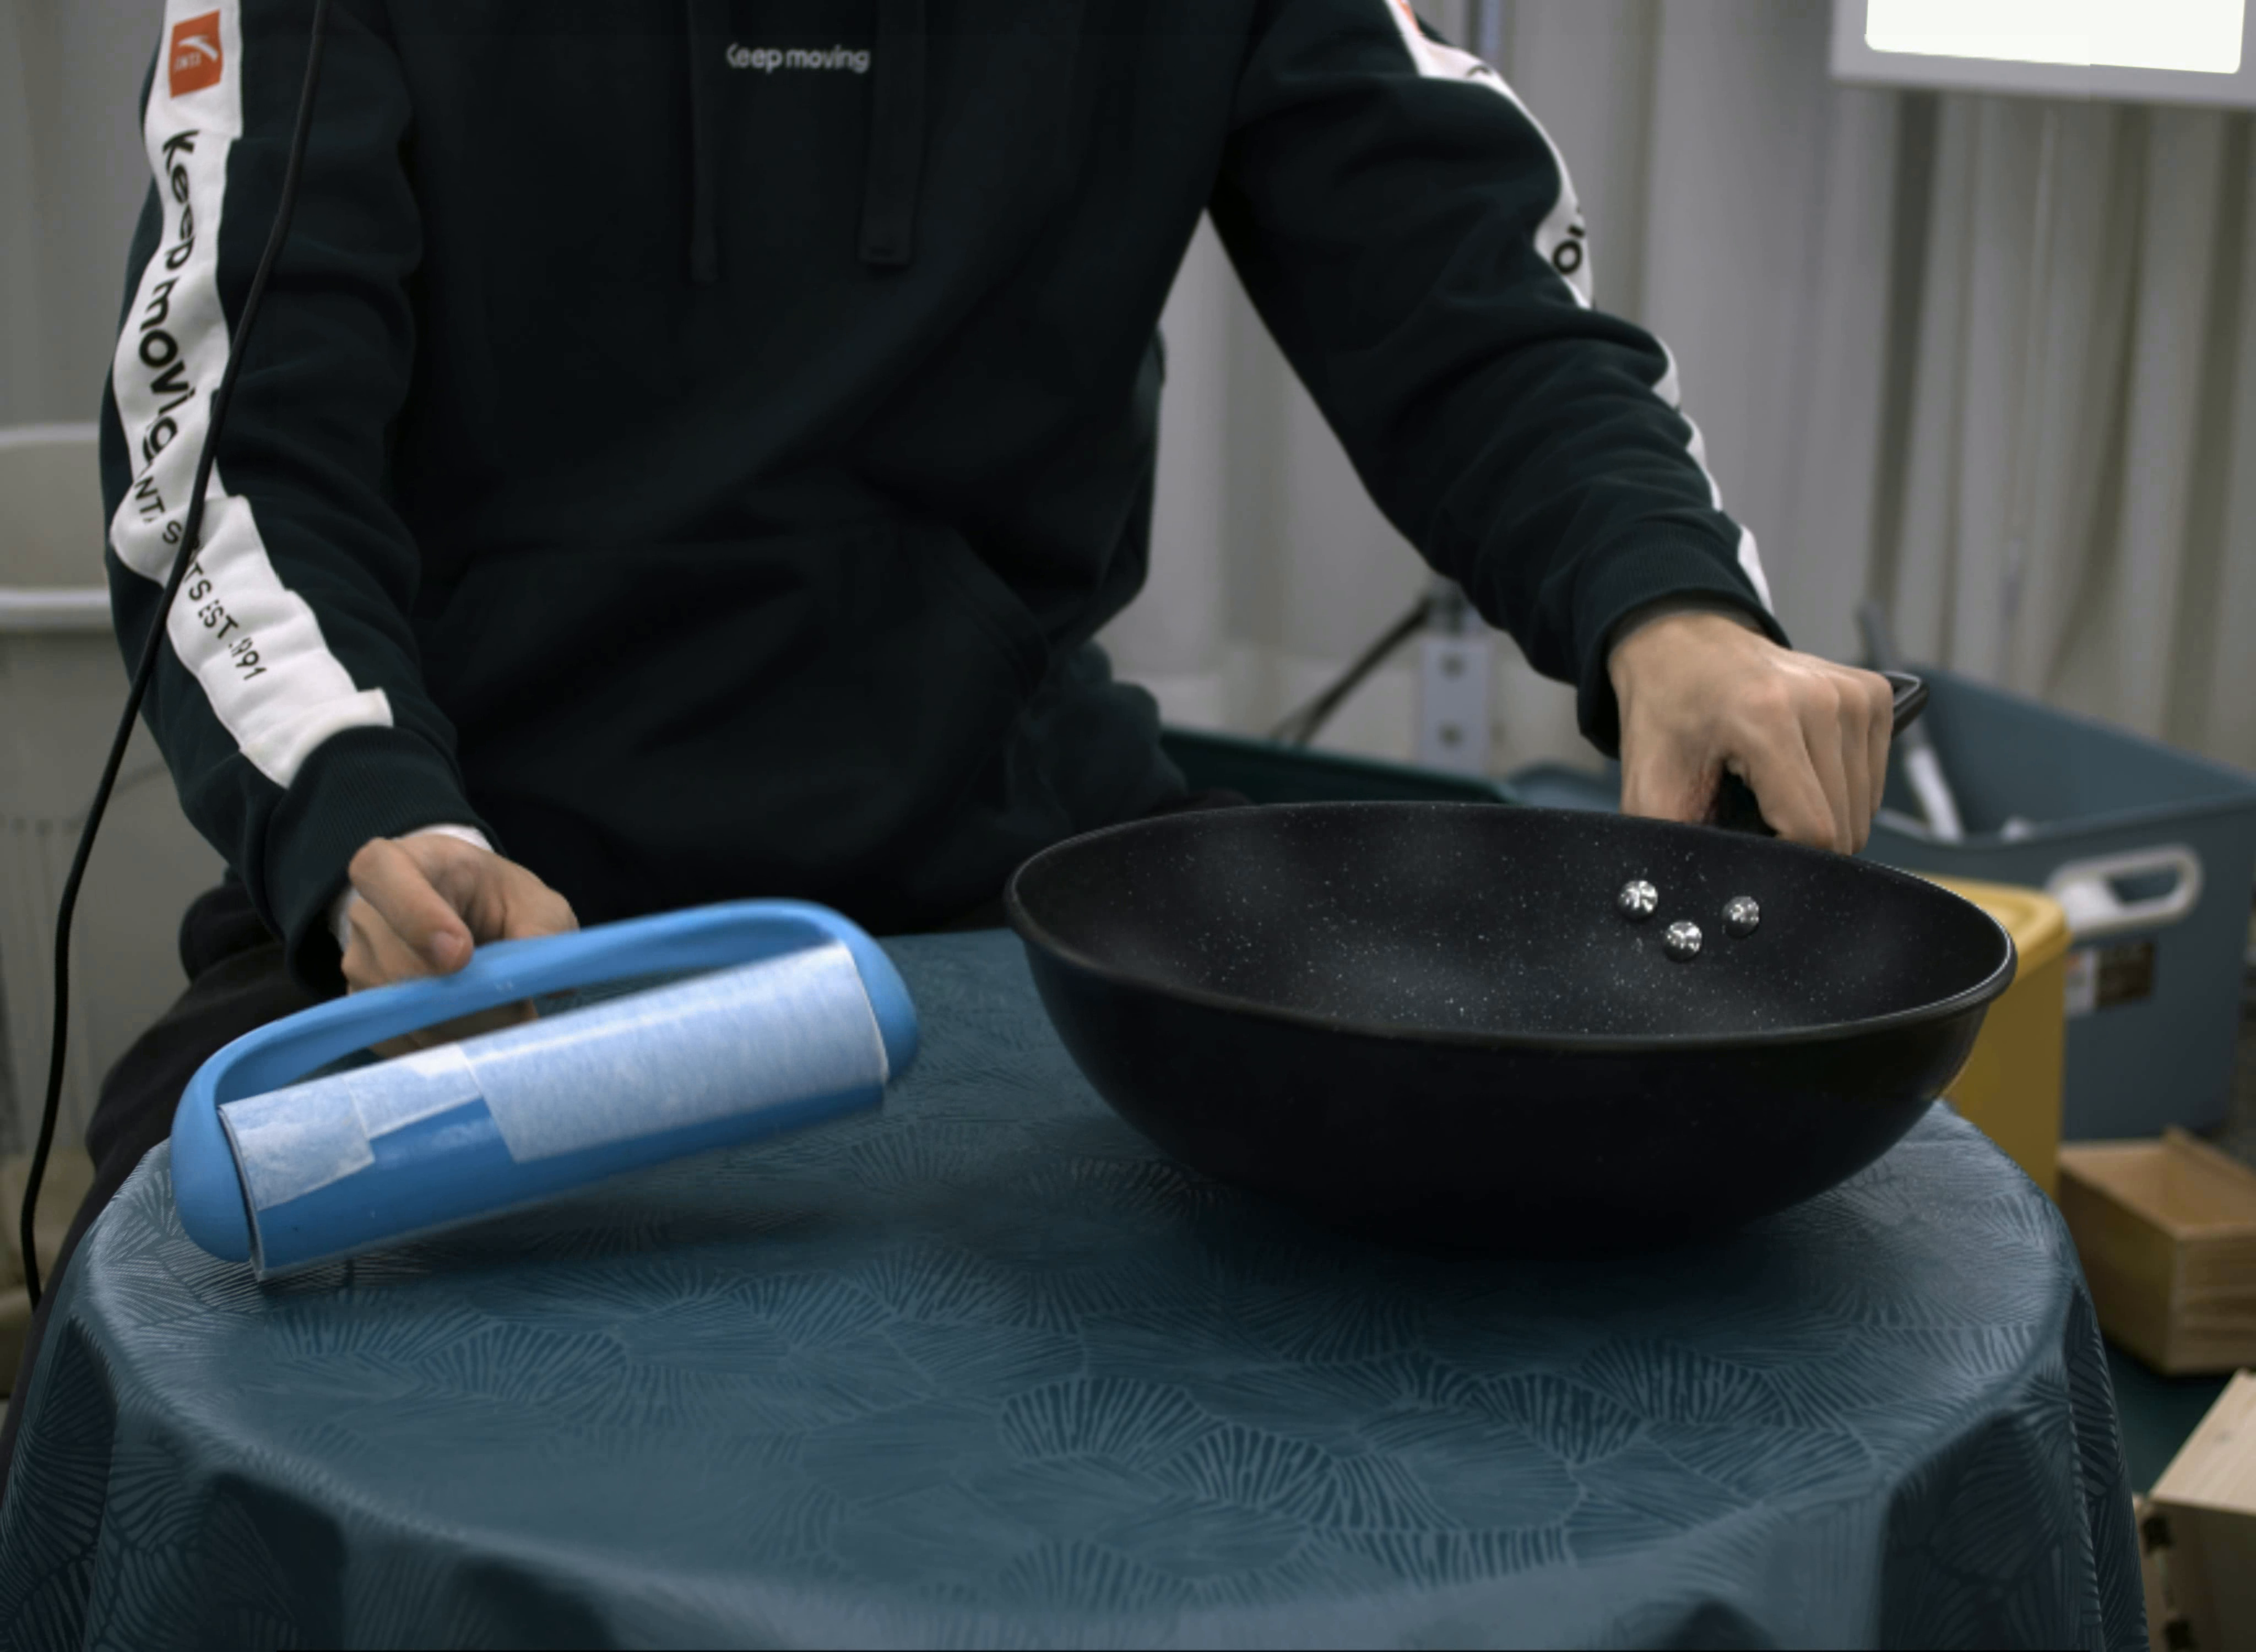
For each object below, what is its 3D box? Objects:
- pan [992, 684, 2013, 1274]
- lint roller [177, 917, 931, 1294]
[{"bbox_3d":[0.151,0.044,1.673,0.306,0.112,0.479,11,15,27],"label":"pan"},{"bbox_3d":[-0.190,0.072,1.604,0.229,0.068,0.178,-16,20,-20],"label":"lint roller"}]
